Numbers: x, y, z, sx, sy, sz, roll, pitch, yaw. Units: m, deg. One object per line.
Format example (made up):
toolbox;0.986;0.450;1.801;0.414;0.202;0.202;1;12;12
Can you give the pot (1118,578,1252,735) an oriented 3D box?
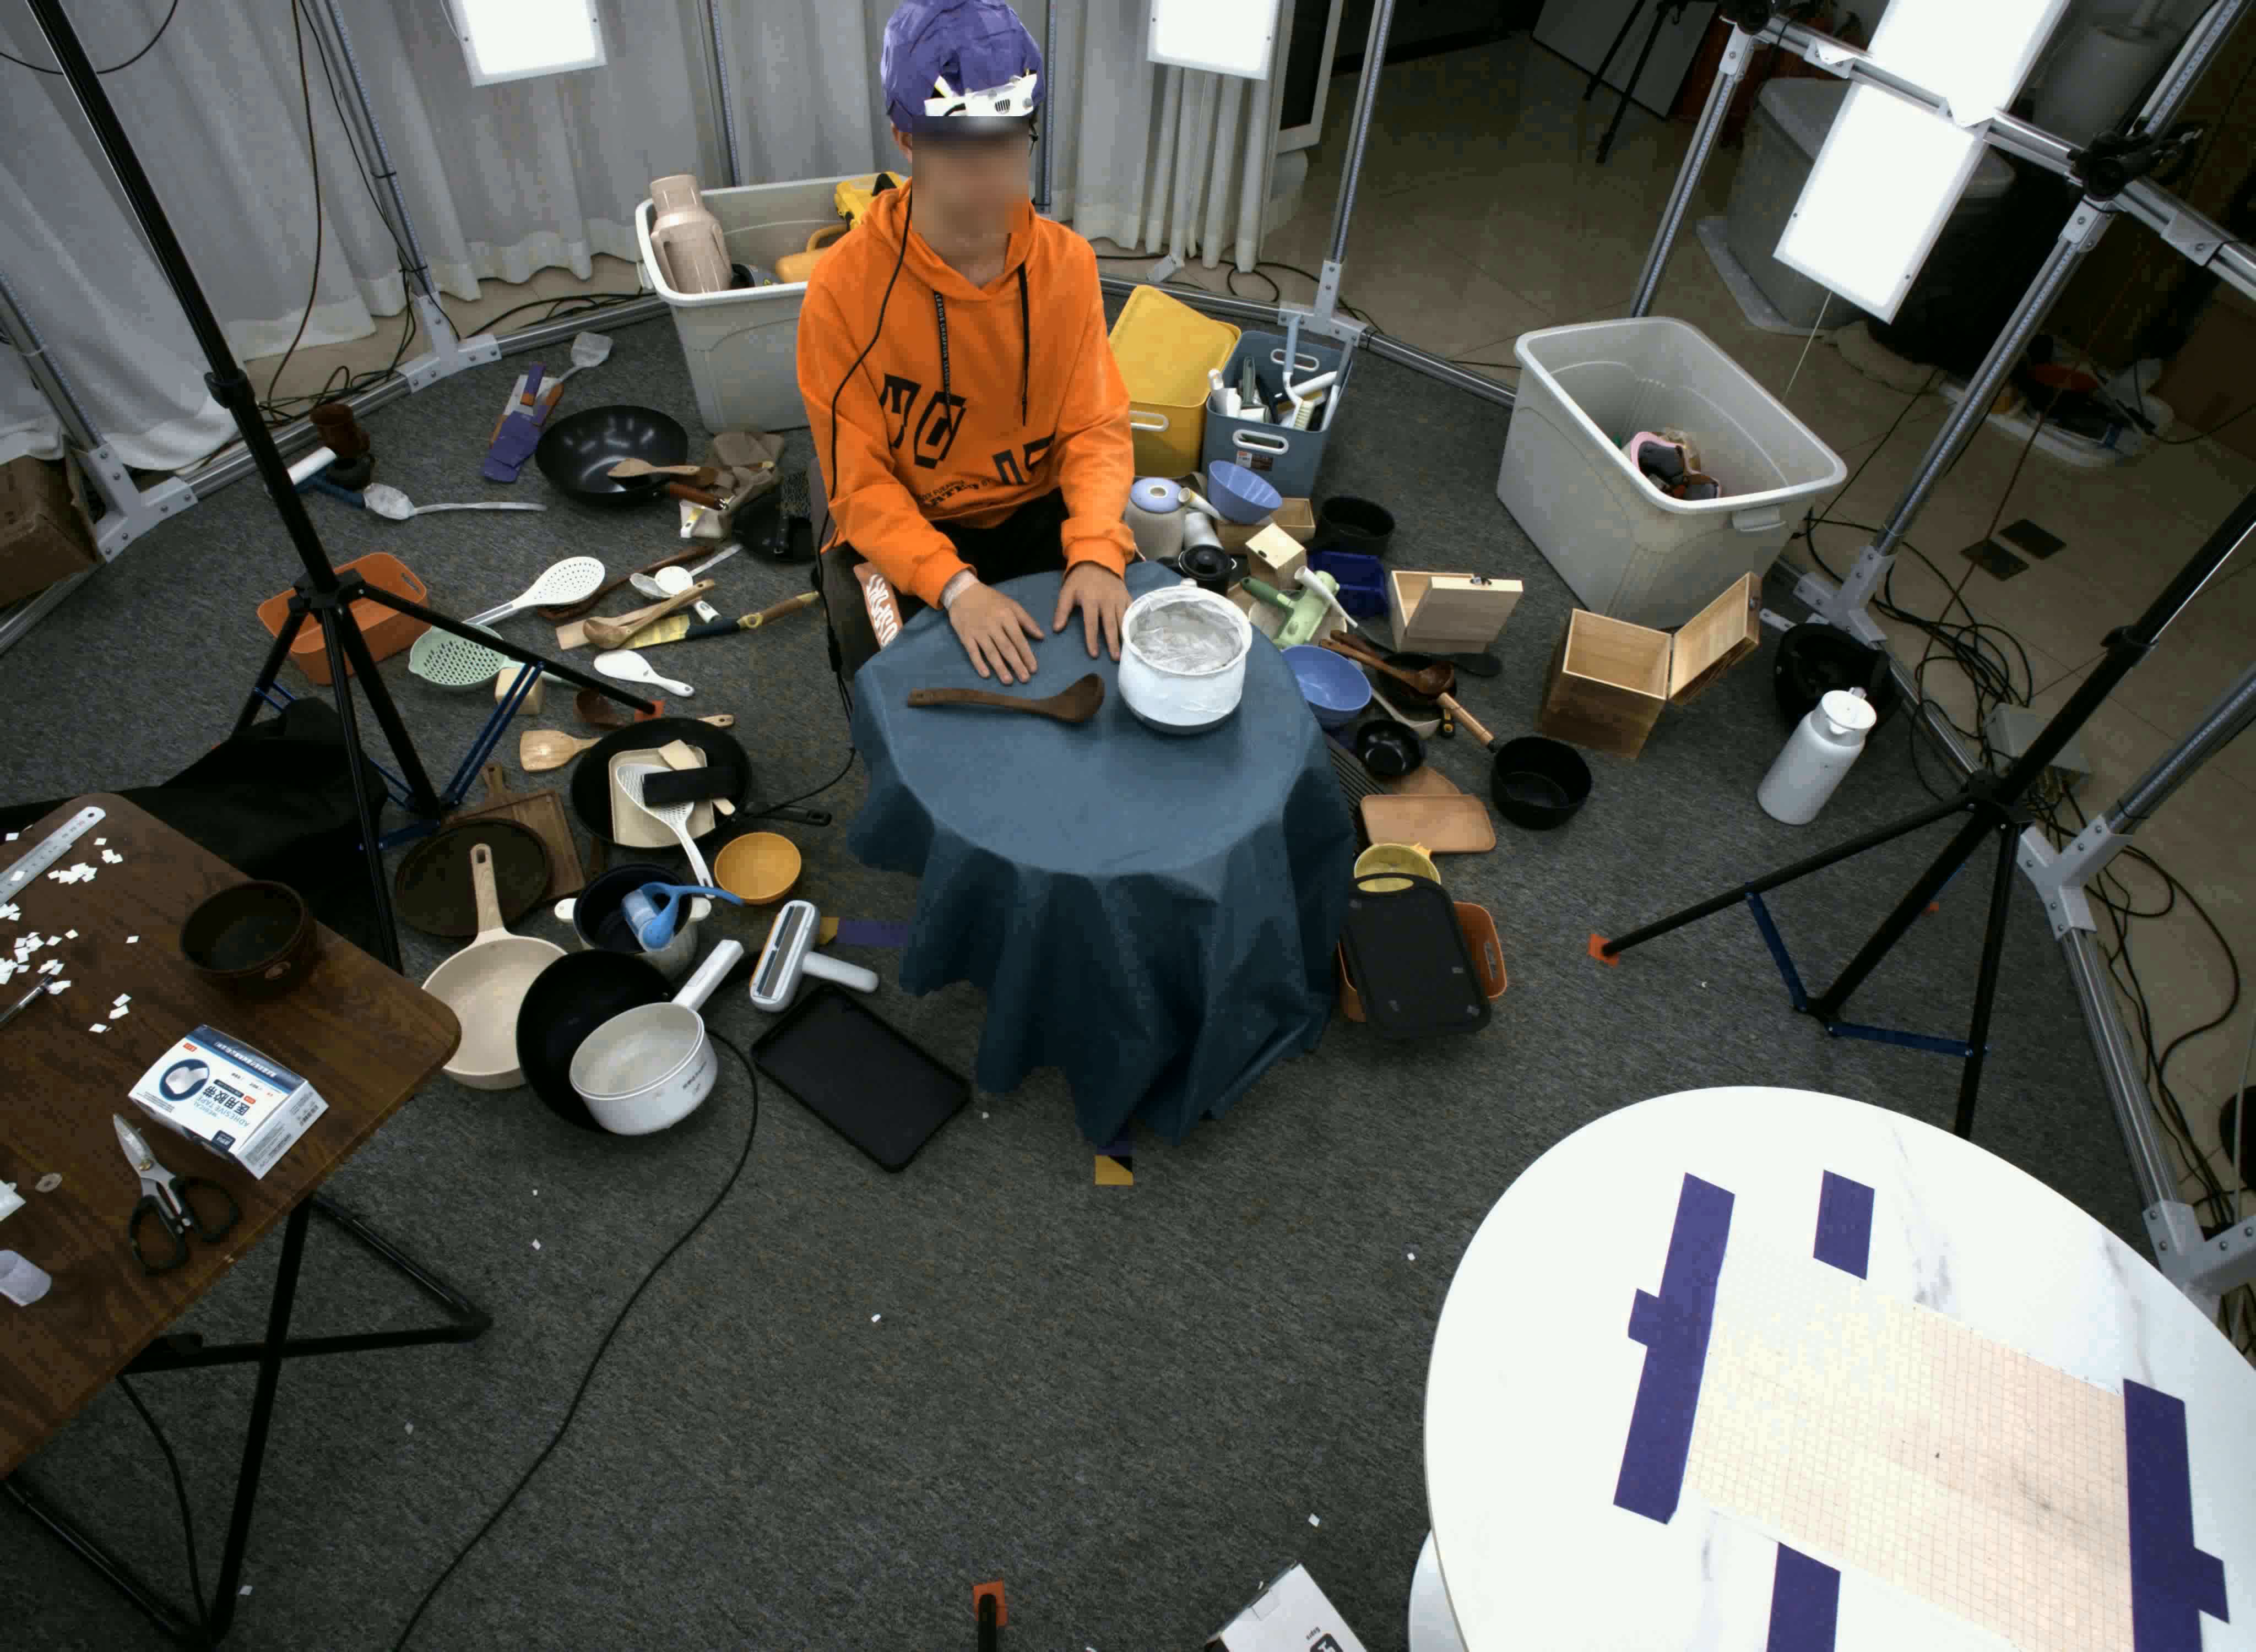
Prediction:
pot;0.077;-0.247;1.800;0.178;0.133;0.239;4;49;-2

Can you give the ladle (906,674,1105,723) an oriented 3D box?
ladle;-0.169;-0.186;1.773;0.274;0.069;0.078;5;45;0
